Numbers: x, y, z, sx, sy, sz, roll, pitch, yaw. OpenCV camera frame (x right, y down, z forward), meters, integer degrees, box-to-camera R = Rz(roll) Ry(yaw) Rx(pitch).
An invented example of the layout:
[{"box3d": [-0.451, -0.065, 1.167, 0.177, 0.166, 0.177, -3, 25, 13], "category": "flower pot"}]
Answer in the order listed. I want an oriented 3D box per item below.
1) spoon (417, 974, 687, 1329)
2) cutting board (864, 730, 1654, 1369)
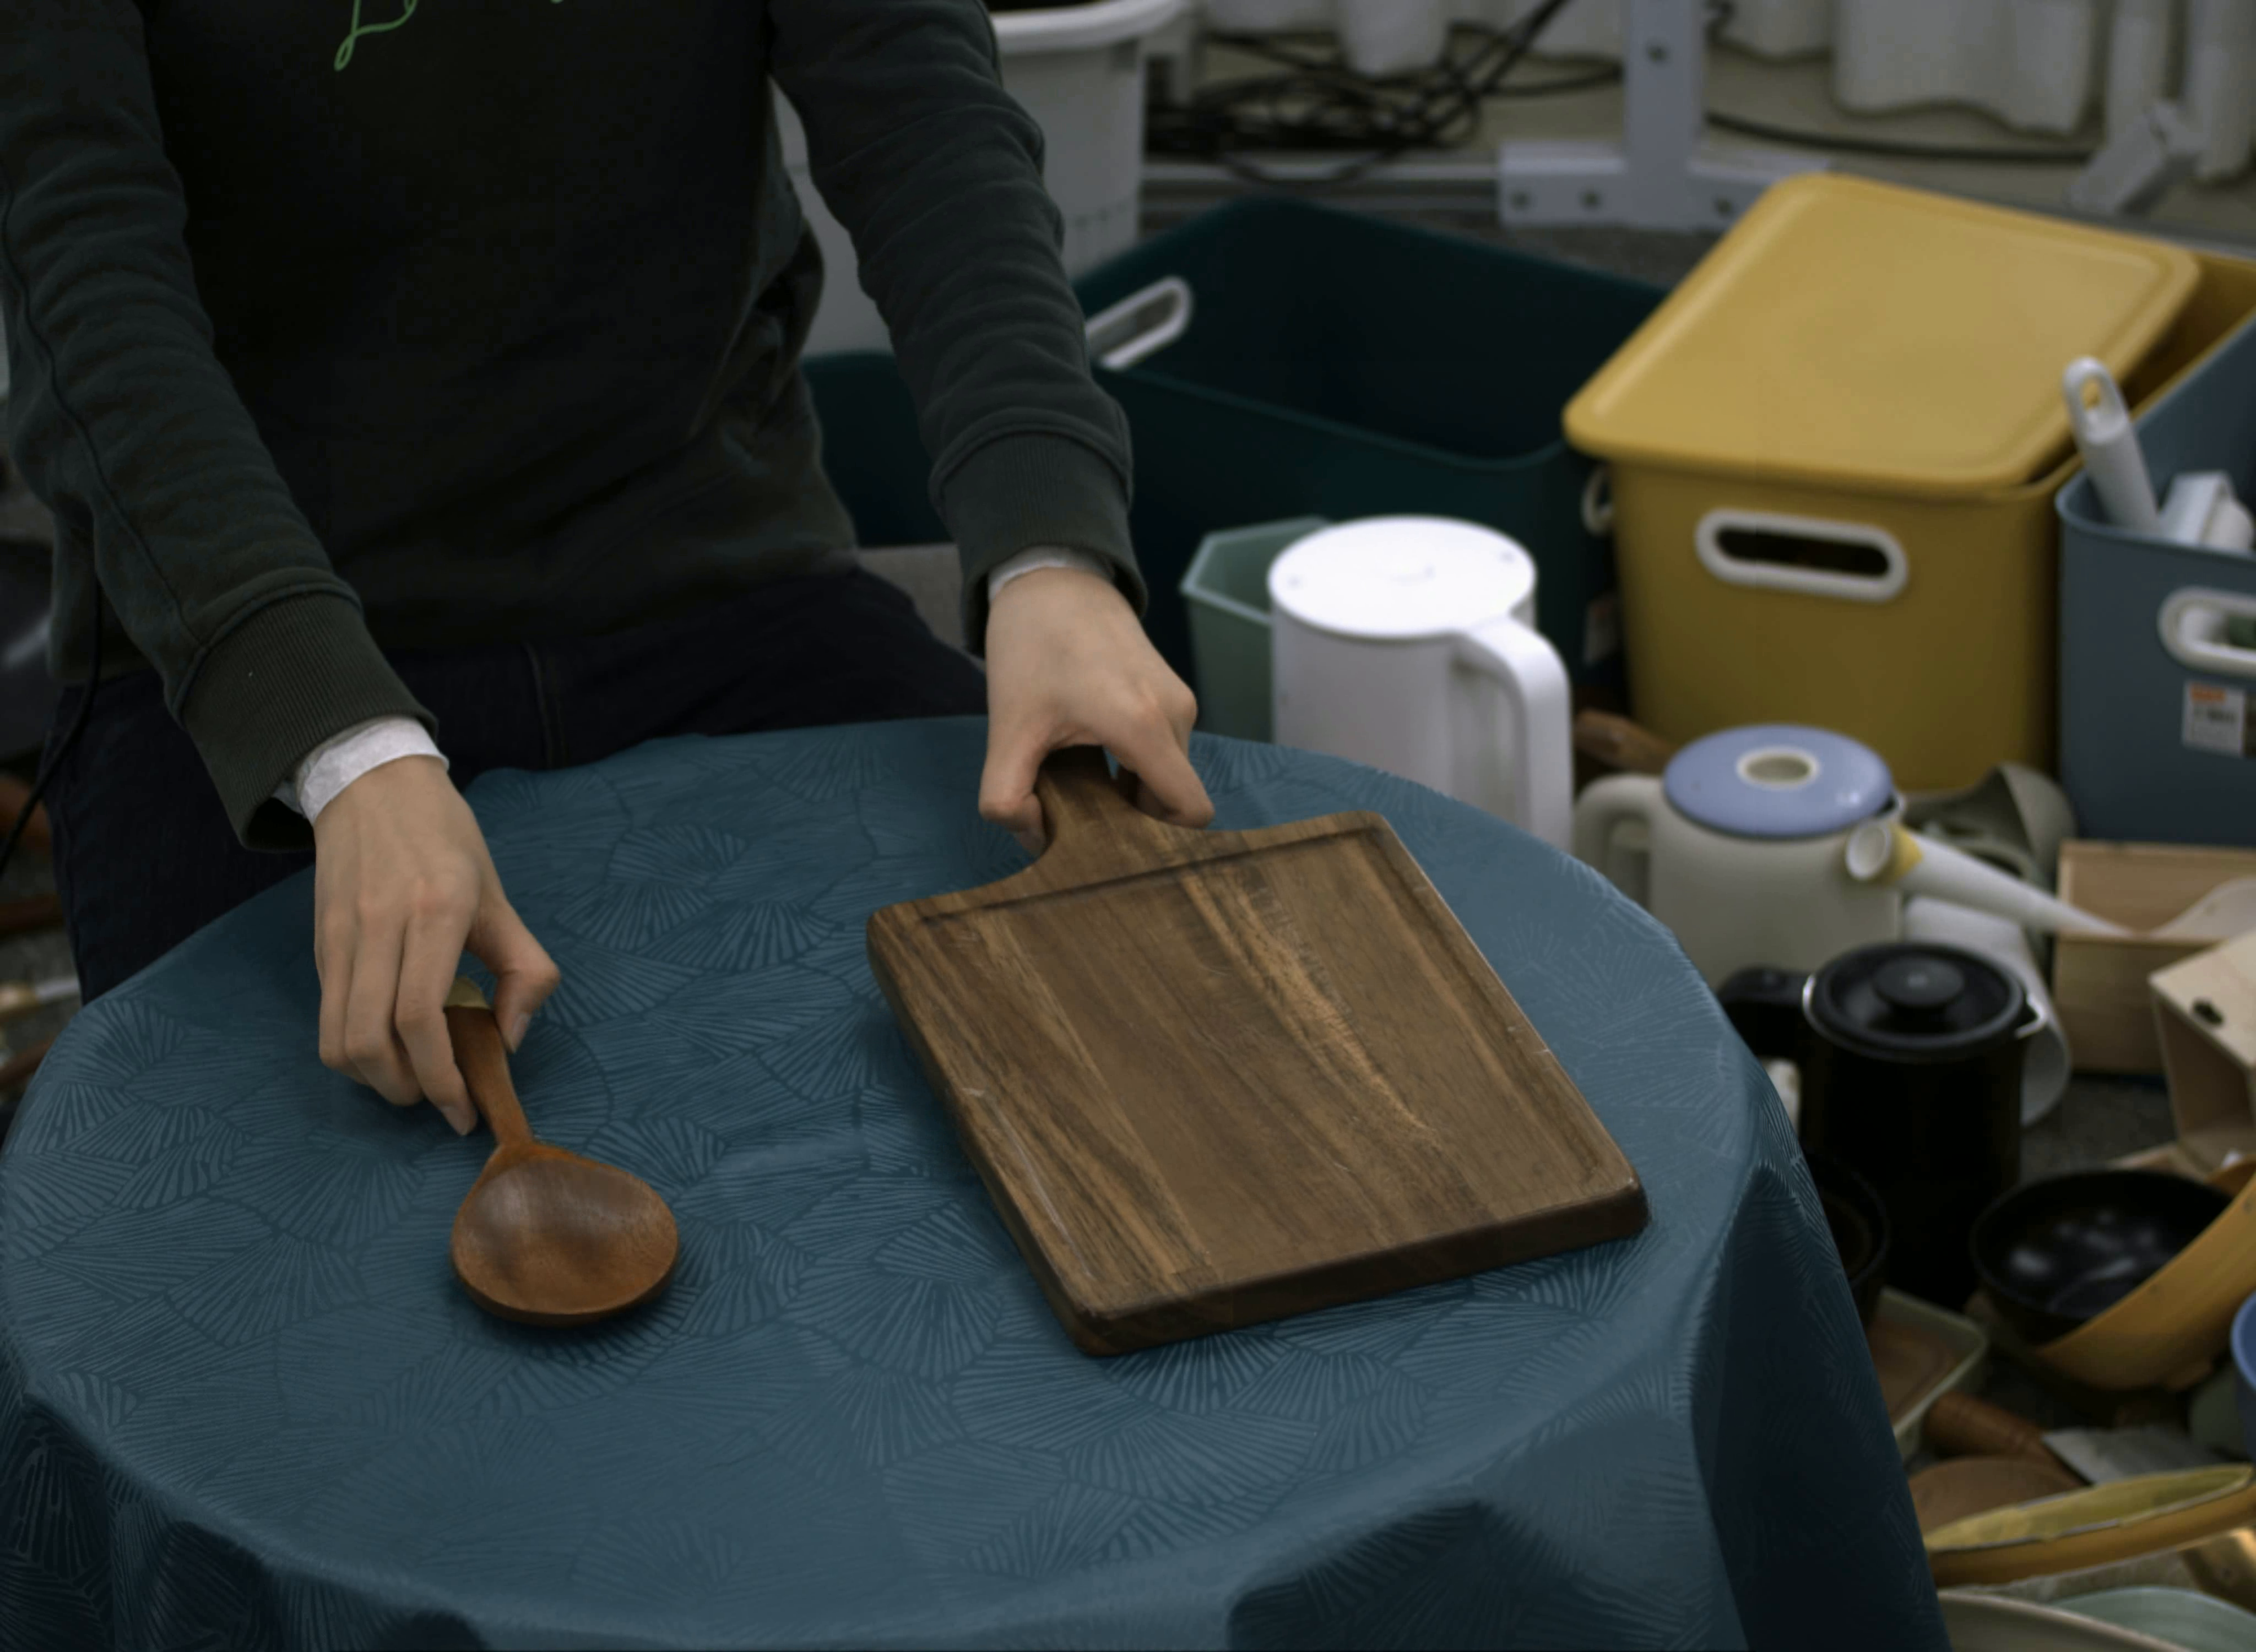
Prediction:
[{"box3d": [-0.202, 0.109, 1.878, 0.075, 0.017, 0.218, -13, 33, -15], "category": "spoon"}, {"box3d": [0.023, 0.059, 1.934, 0.201, 0.023, 0.356, -12, 33, -15], "category": "cutting board"}]
